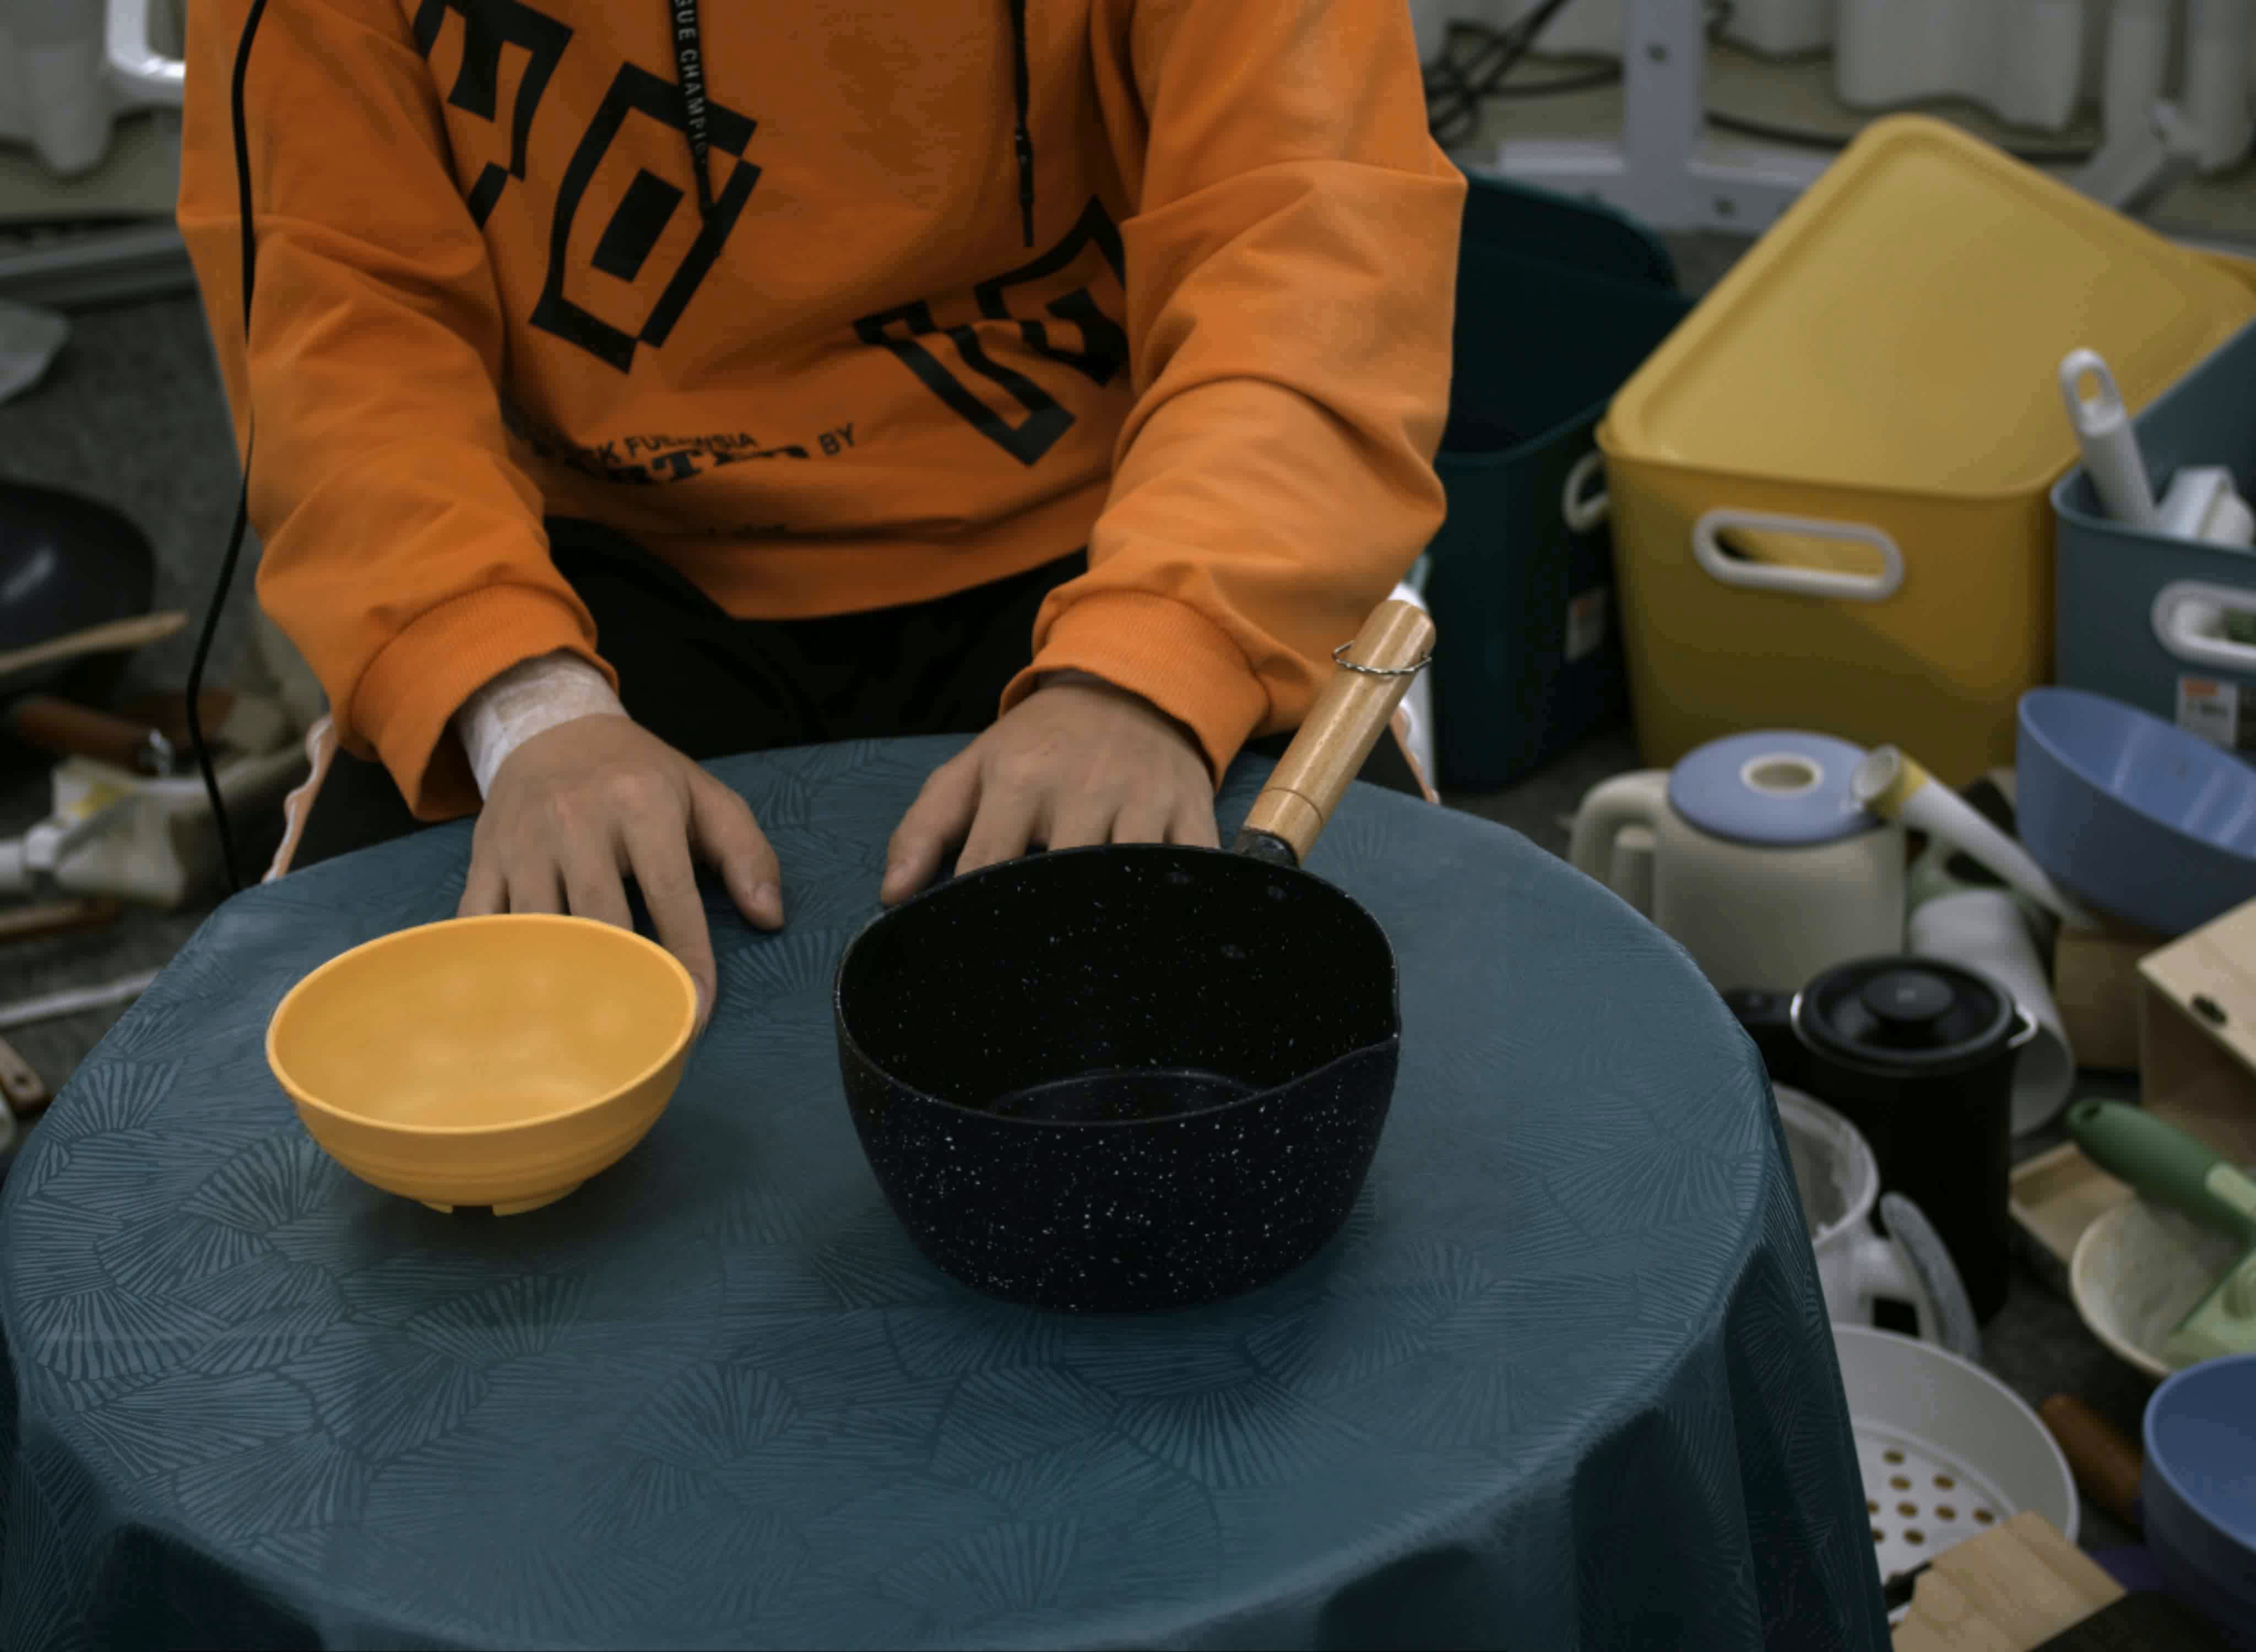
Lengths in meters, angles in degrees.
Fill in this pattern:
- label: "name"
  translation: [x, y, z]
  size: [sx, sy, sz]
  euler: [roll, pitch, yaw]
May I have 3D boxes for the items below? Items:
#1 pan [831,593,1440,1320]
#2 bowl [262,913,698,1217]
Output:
- label: "pan"
  translation: [0.030, 0.040, 1.901]
  size: [0.206, 0.107, 0.349]
  euler: [8, 31, 23]
- label: "bowl"
  translation: [-0.215, 0.090, 1.883]
  size: [0.144, 0.059, 0.147]
  euler: [-1, 27, 1]
